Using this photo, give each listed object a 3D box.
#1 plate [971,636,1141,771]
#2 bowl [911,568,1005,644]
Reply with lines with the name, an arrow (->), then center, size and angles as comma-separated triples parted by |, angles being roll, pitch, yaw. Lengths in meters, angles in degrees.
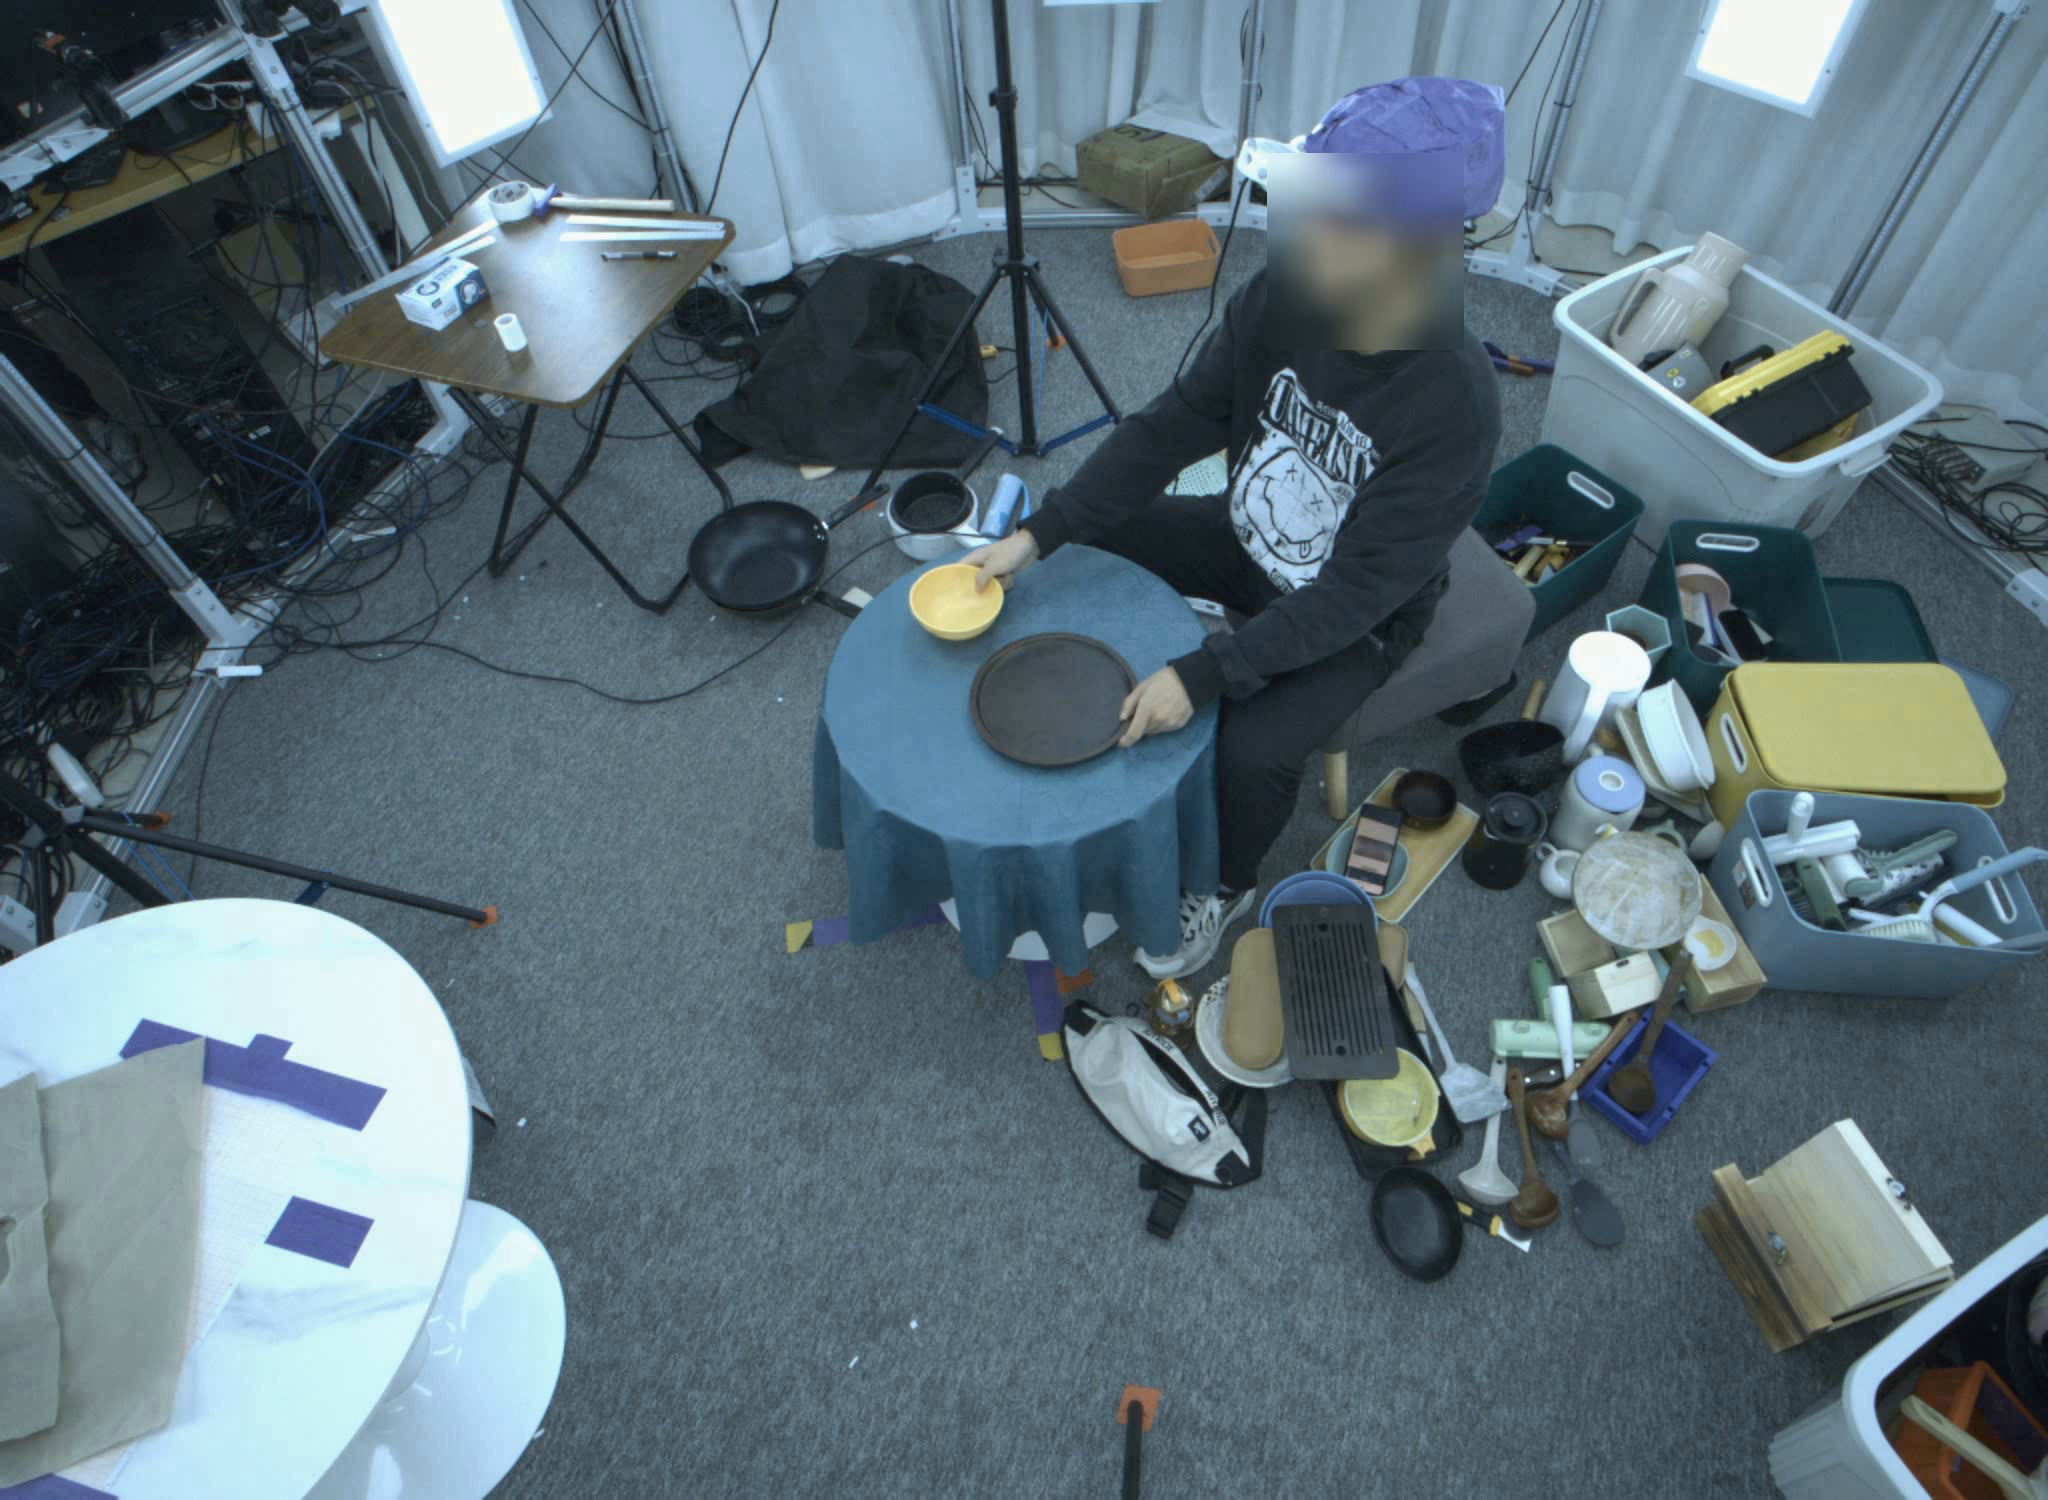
plate -> 0.048, -0.070, 1.831 | 0.254, 0.029, 0.252 | -1, 53, 2
bowl -> -0.104, -0.213, 1.915 | 0.146, 0.060, 0.144 | 3, 53, -3
